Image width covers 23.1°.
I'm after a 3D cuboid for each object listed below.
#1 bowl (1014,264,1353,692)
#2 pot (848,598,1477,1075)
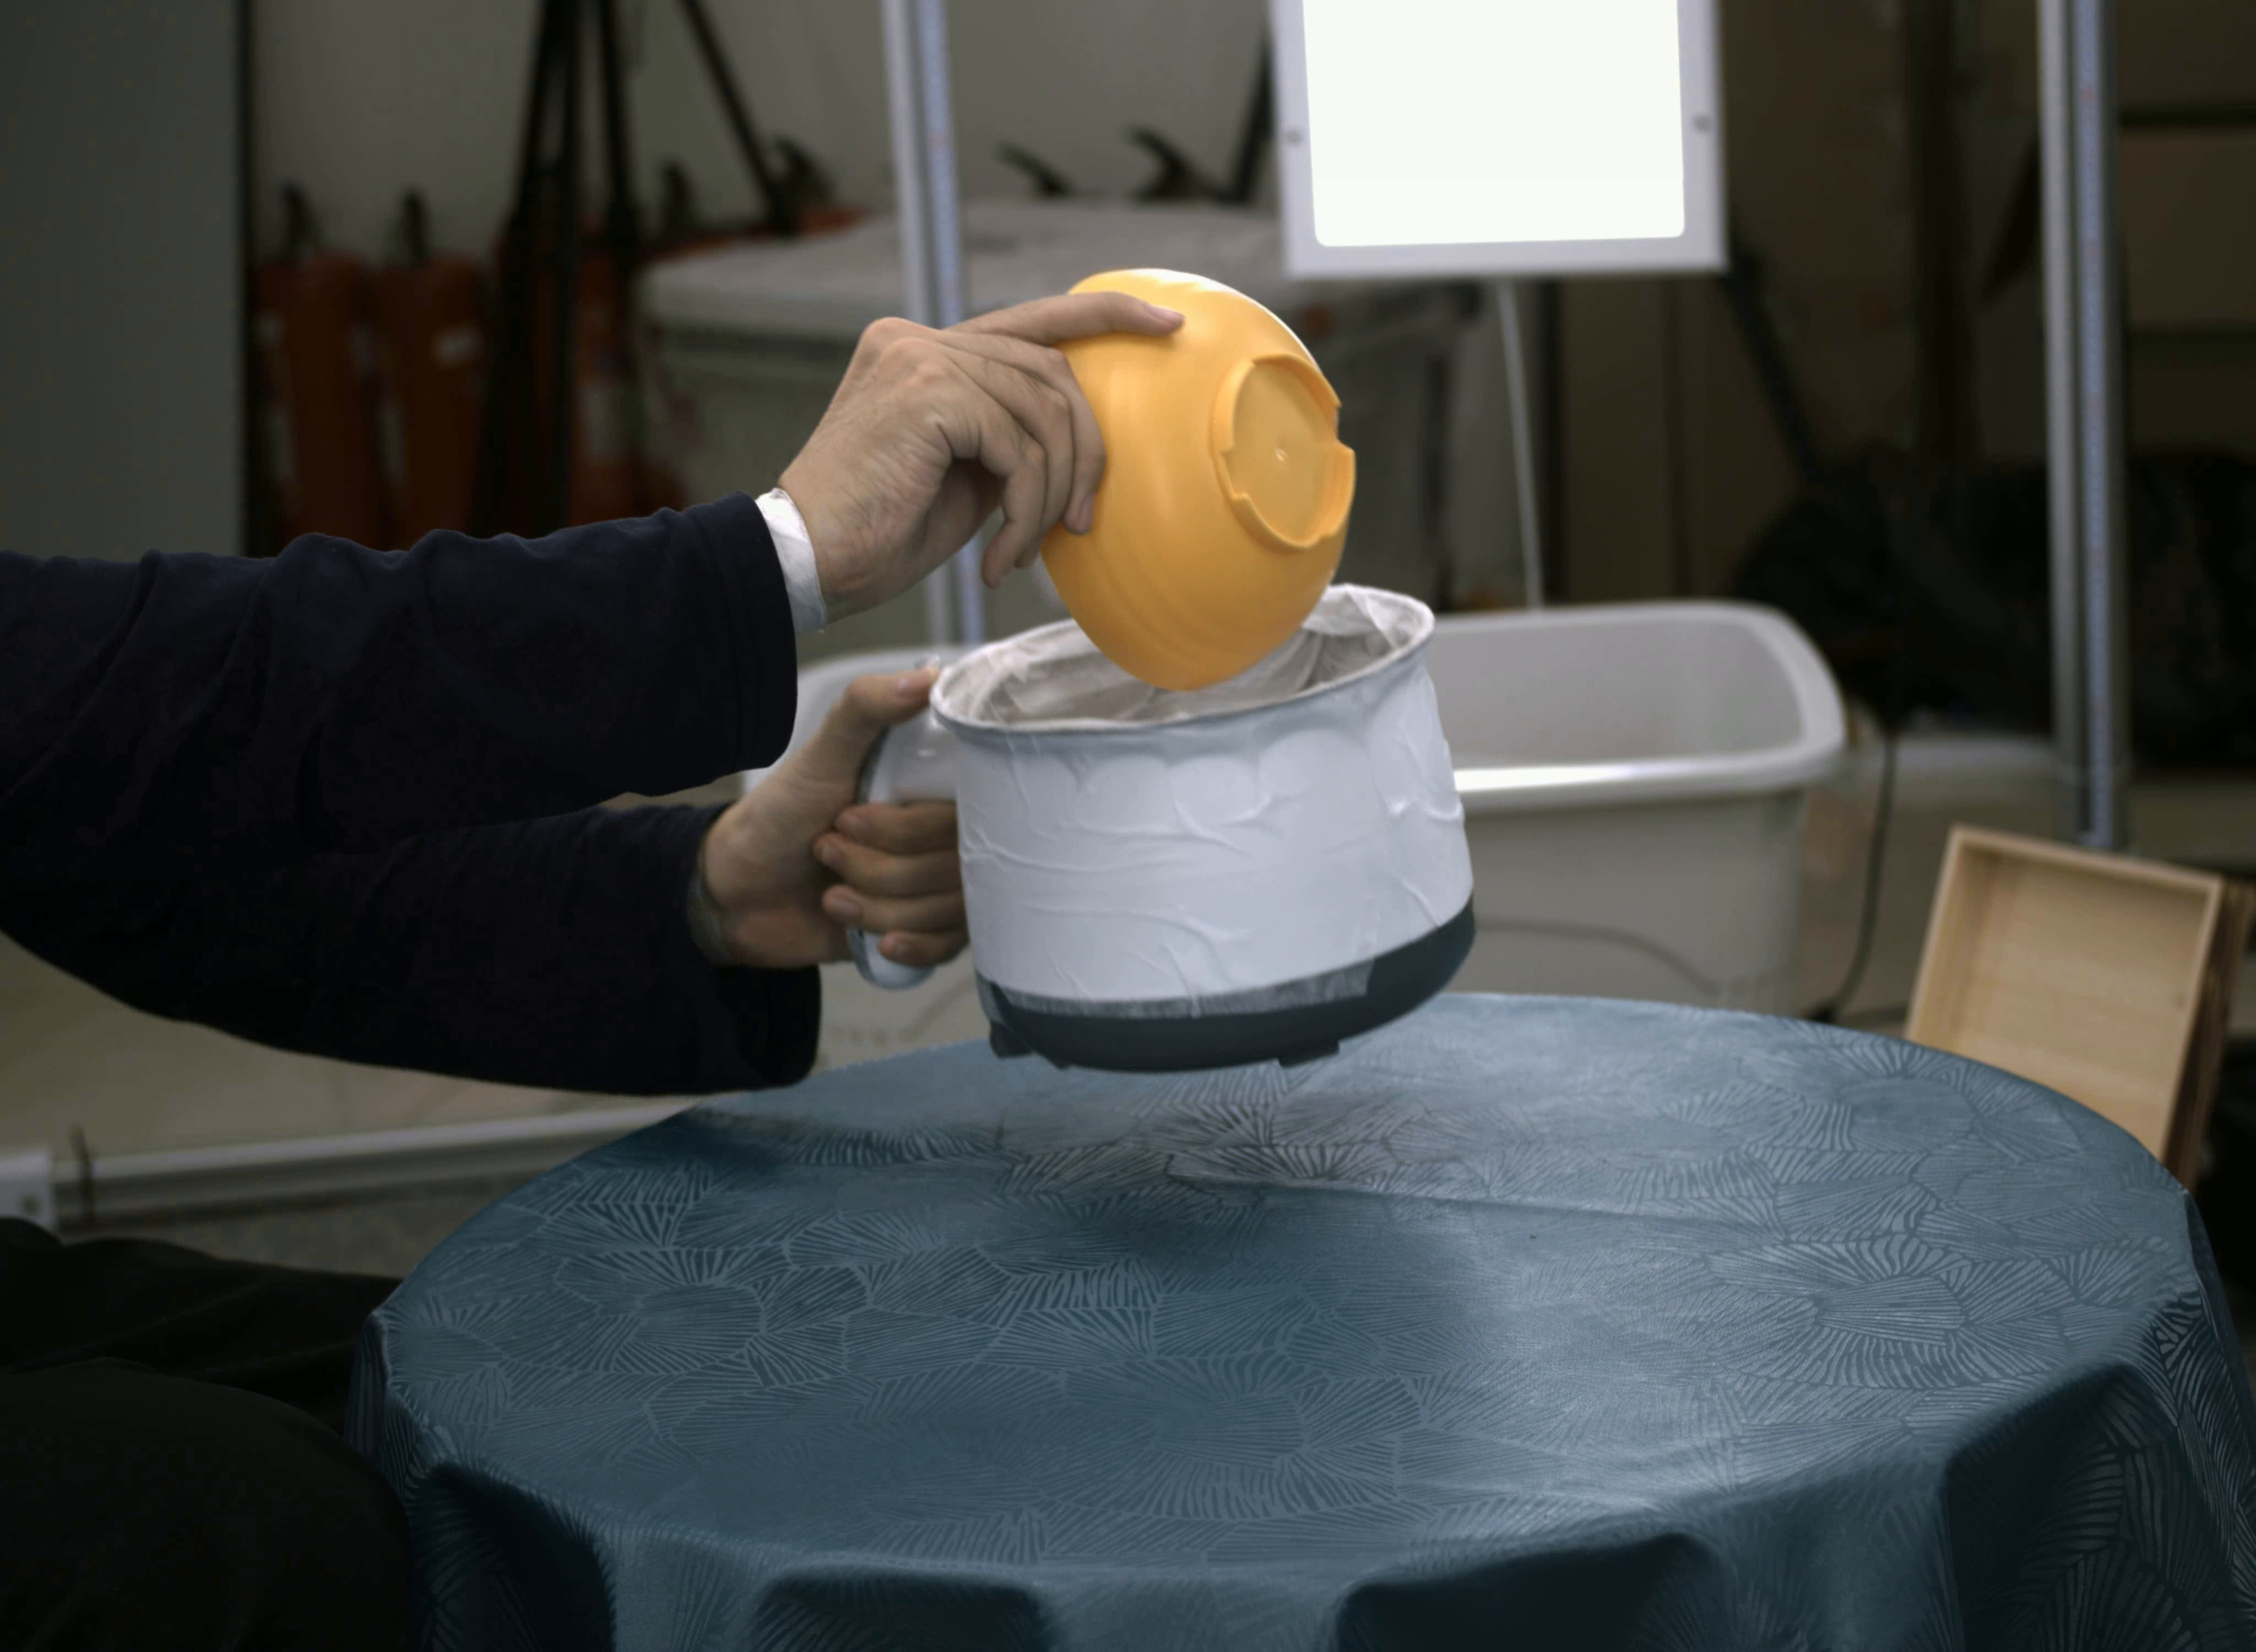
[{"bbox_3d":[0.033,-0.121,1.824,0.061,0.145,0.141,-10,6,42],"label":"bowl"},{"bbox_3d":[0.005,0.005,1.922,0.237,0.137,0.175,-2,15,26],"label":"pot"}]
